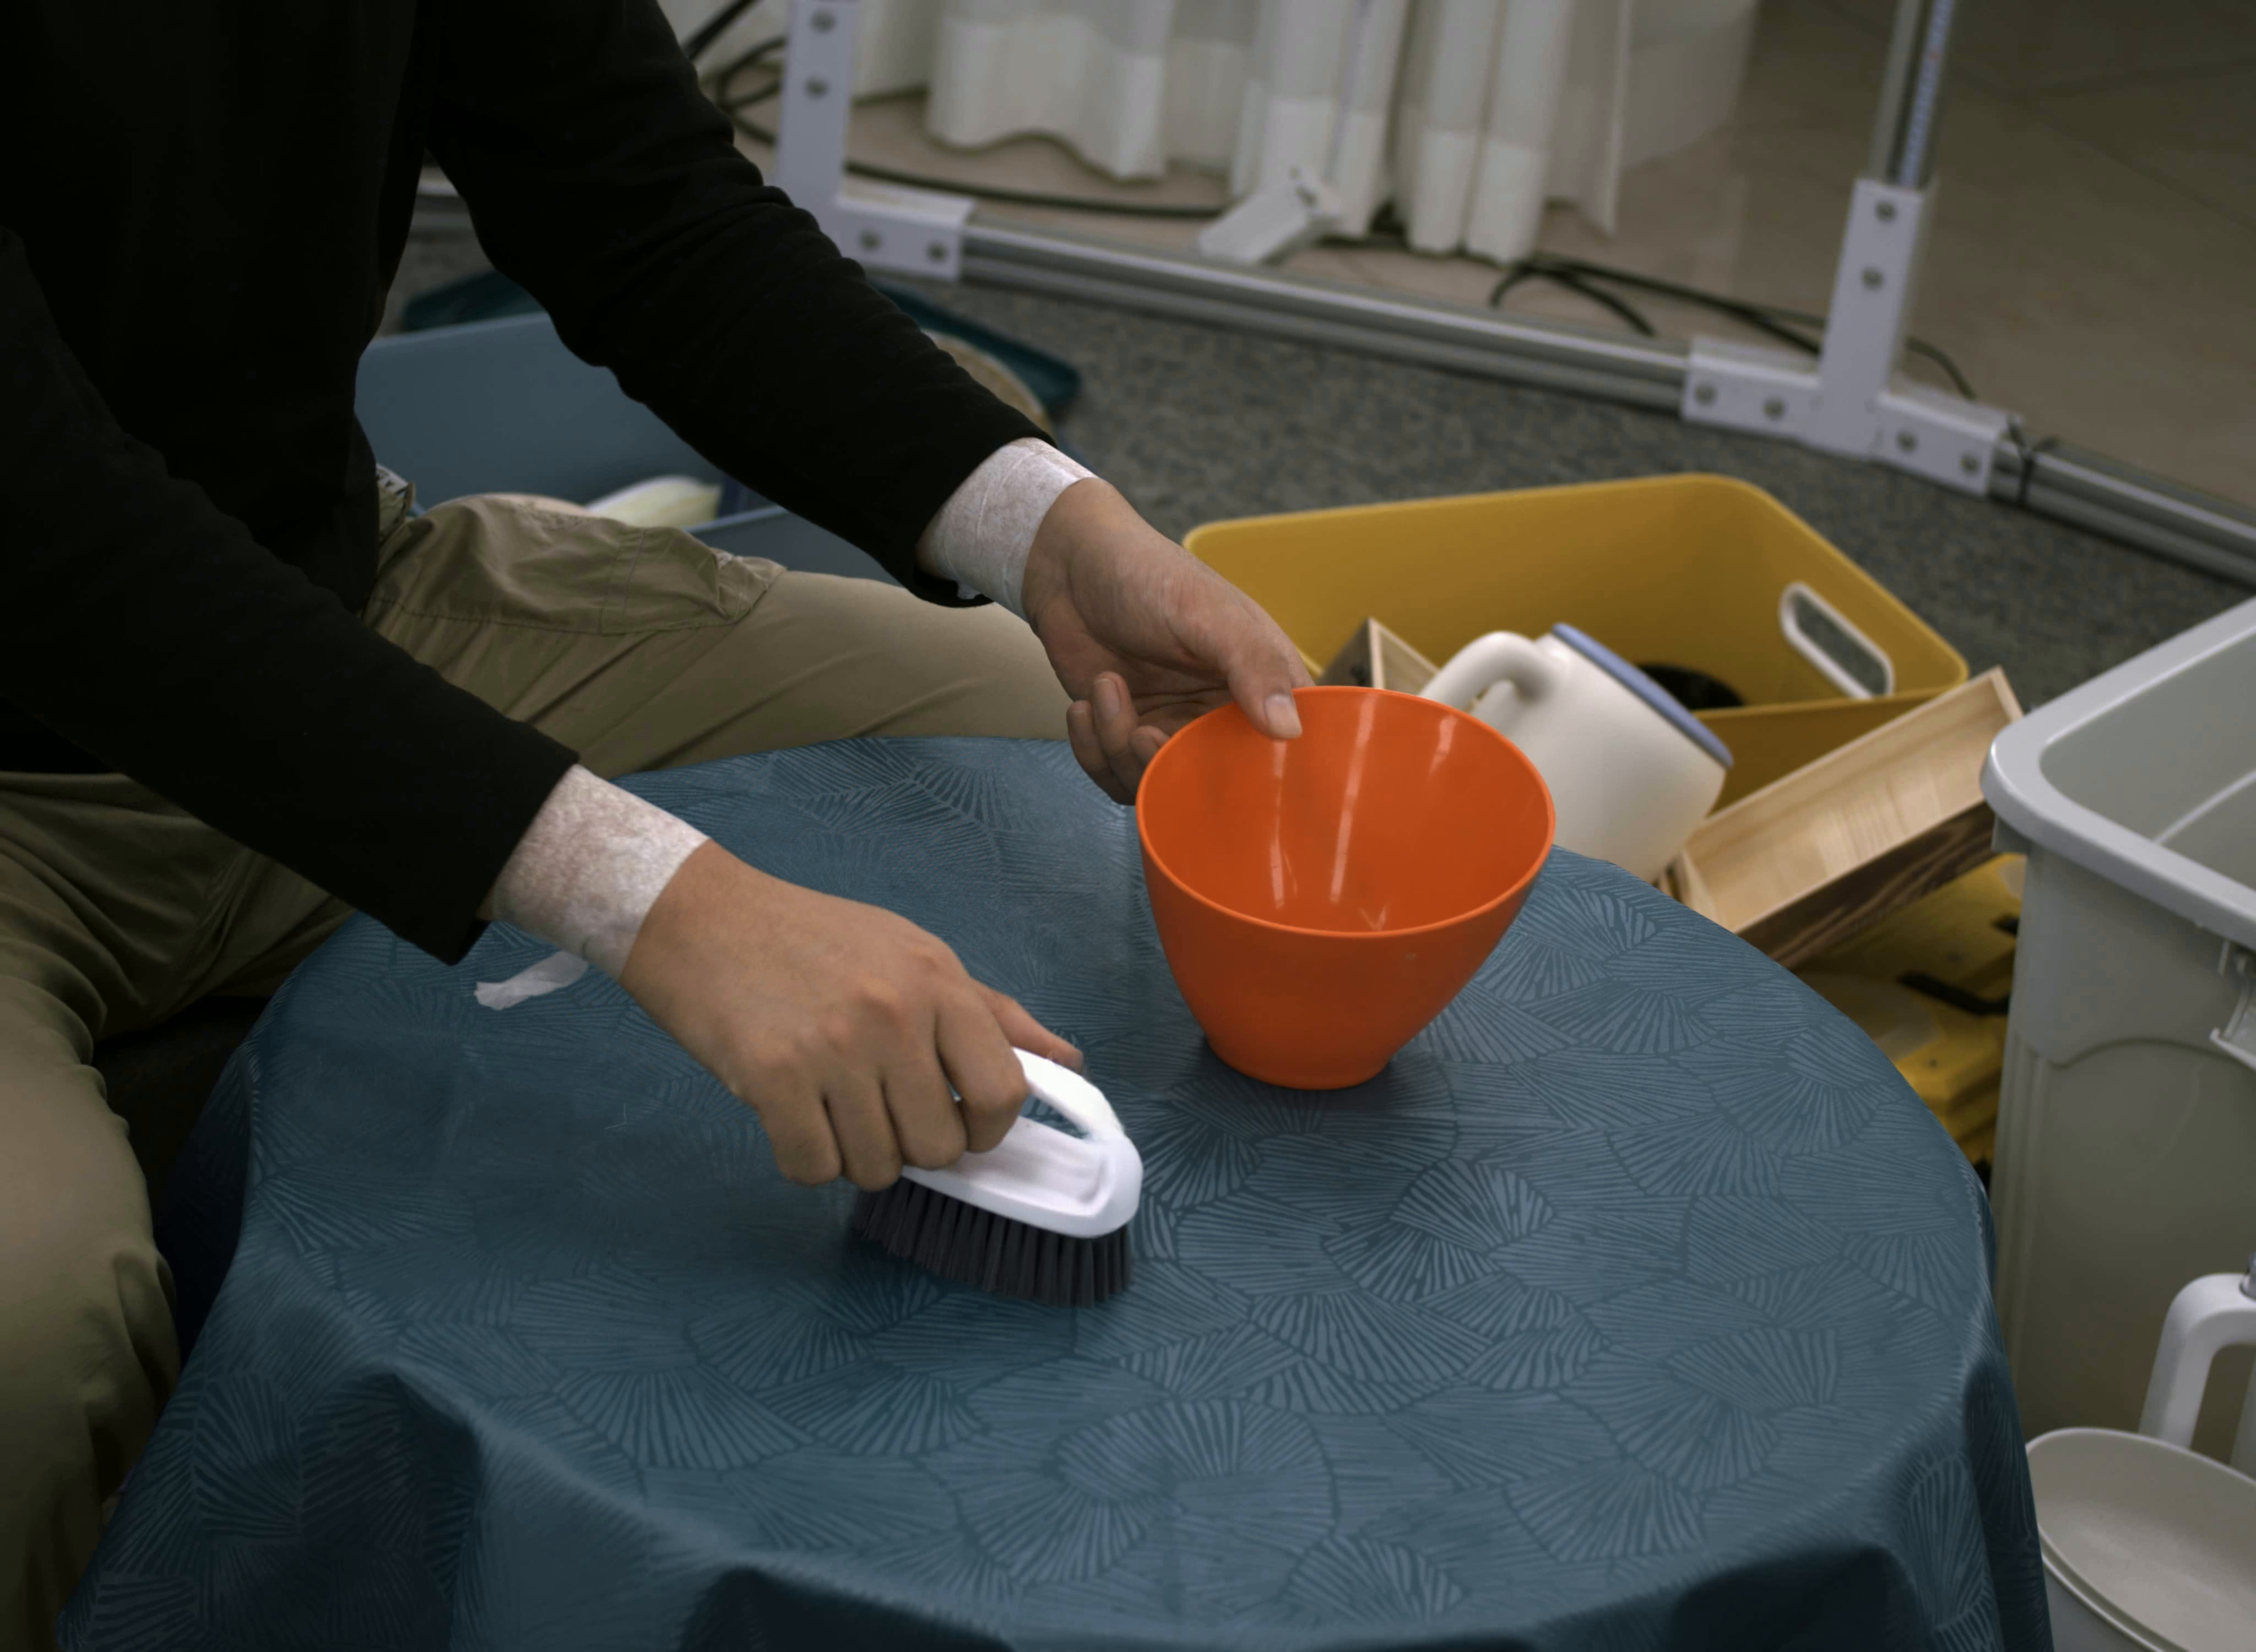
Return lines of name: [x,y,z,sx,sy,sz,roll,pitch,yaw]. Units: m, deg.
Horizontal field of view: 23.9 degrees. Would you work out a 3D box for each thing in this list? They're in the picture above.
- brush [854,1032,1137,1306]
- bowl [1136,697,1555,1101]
brush: [-0.043,0.106,1.746,0.099,0.072,0.050,20,31,25]
bowl: [0.073,0.032,1.890,0.147,0.104,0.149,4,27,-2]
